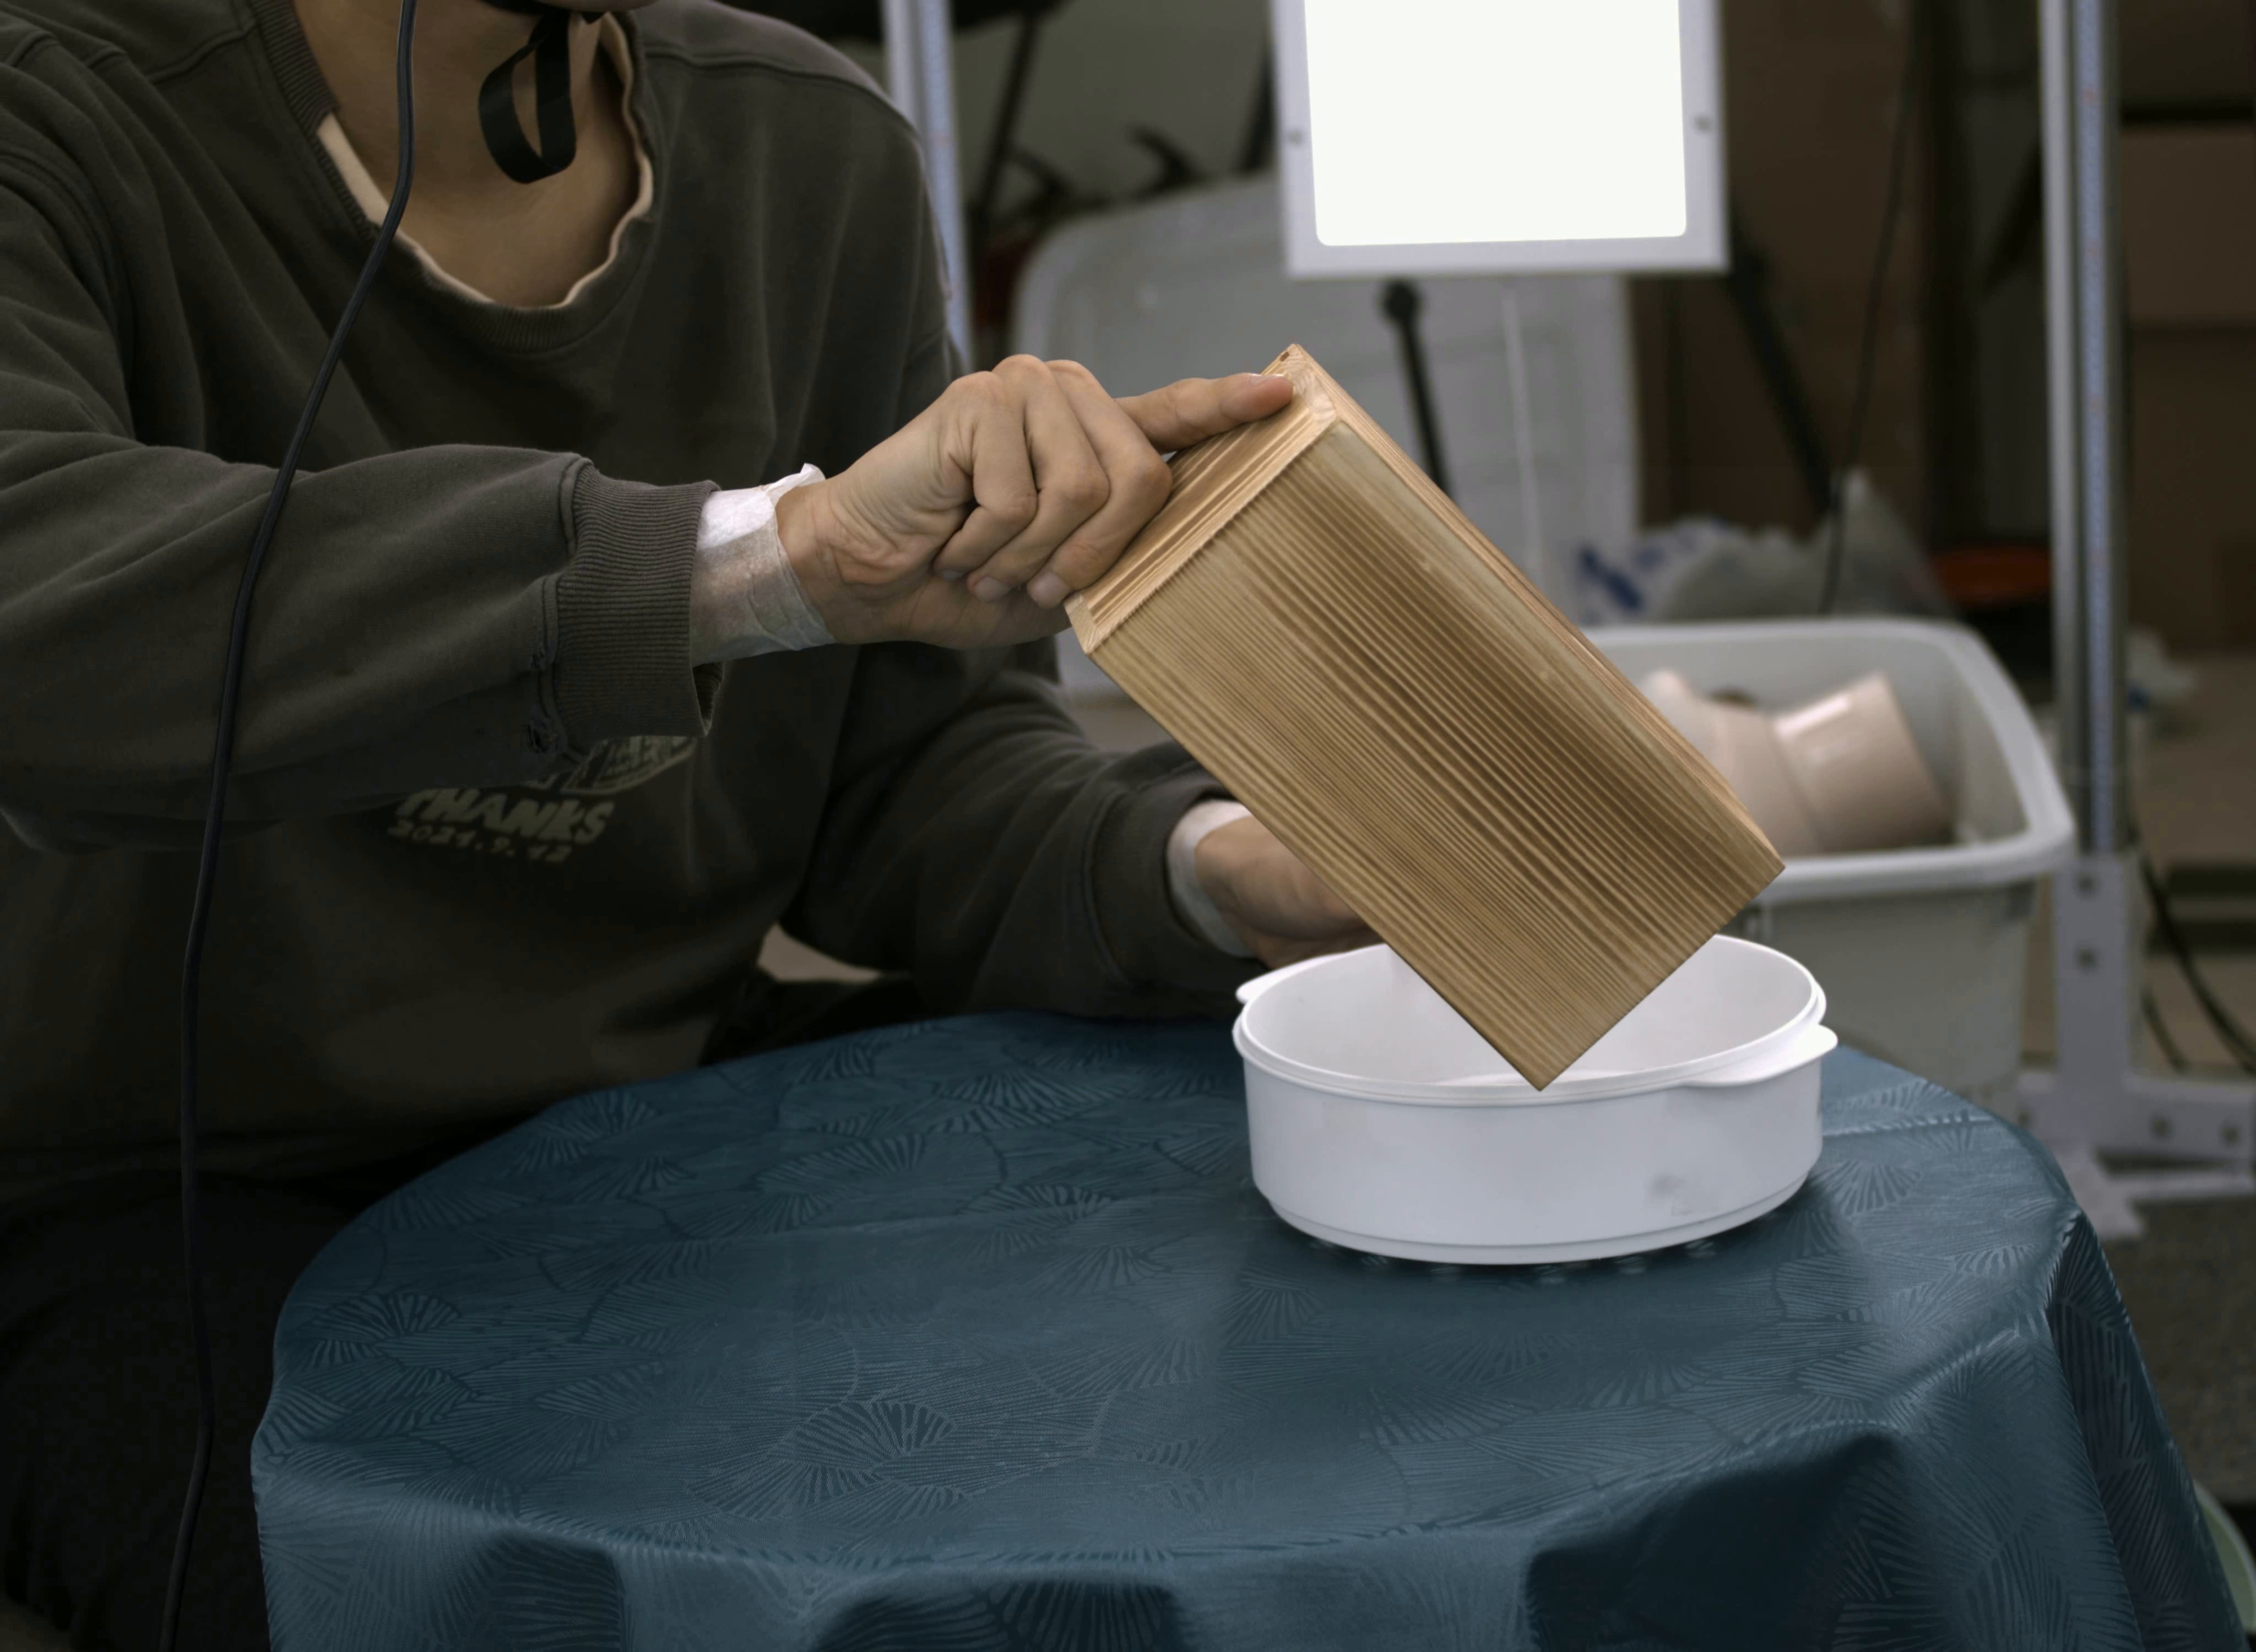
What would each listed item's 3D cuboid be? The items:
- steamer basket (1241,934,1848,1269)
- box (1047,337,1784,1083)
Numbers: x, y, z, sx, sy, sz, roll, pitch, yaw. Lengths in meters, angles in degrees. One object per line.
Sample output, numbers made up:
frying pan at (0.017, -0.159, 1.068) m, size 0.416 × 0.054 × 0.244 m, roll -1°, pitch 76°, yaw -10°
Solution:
steamer basket at (0.141, 0.092, 1.849) m, size 0.197 × 0.069 × 0.235 m, roll -19°, pitch 17°, yaw -42°
box at (0.089, -0.035, 1.704) m, size 0.108 × 0.209 × 0.080 m, roll -43°, pitch 19°, yaw 9°
